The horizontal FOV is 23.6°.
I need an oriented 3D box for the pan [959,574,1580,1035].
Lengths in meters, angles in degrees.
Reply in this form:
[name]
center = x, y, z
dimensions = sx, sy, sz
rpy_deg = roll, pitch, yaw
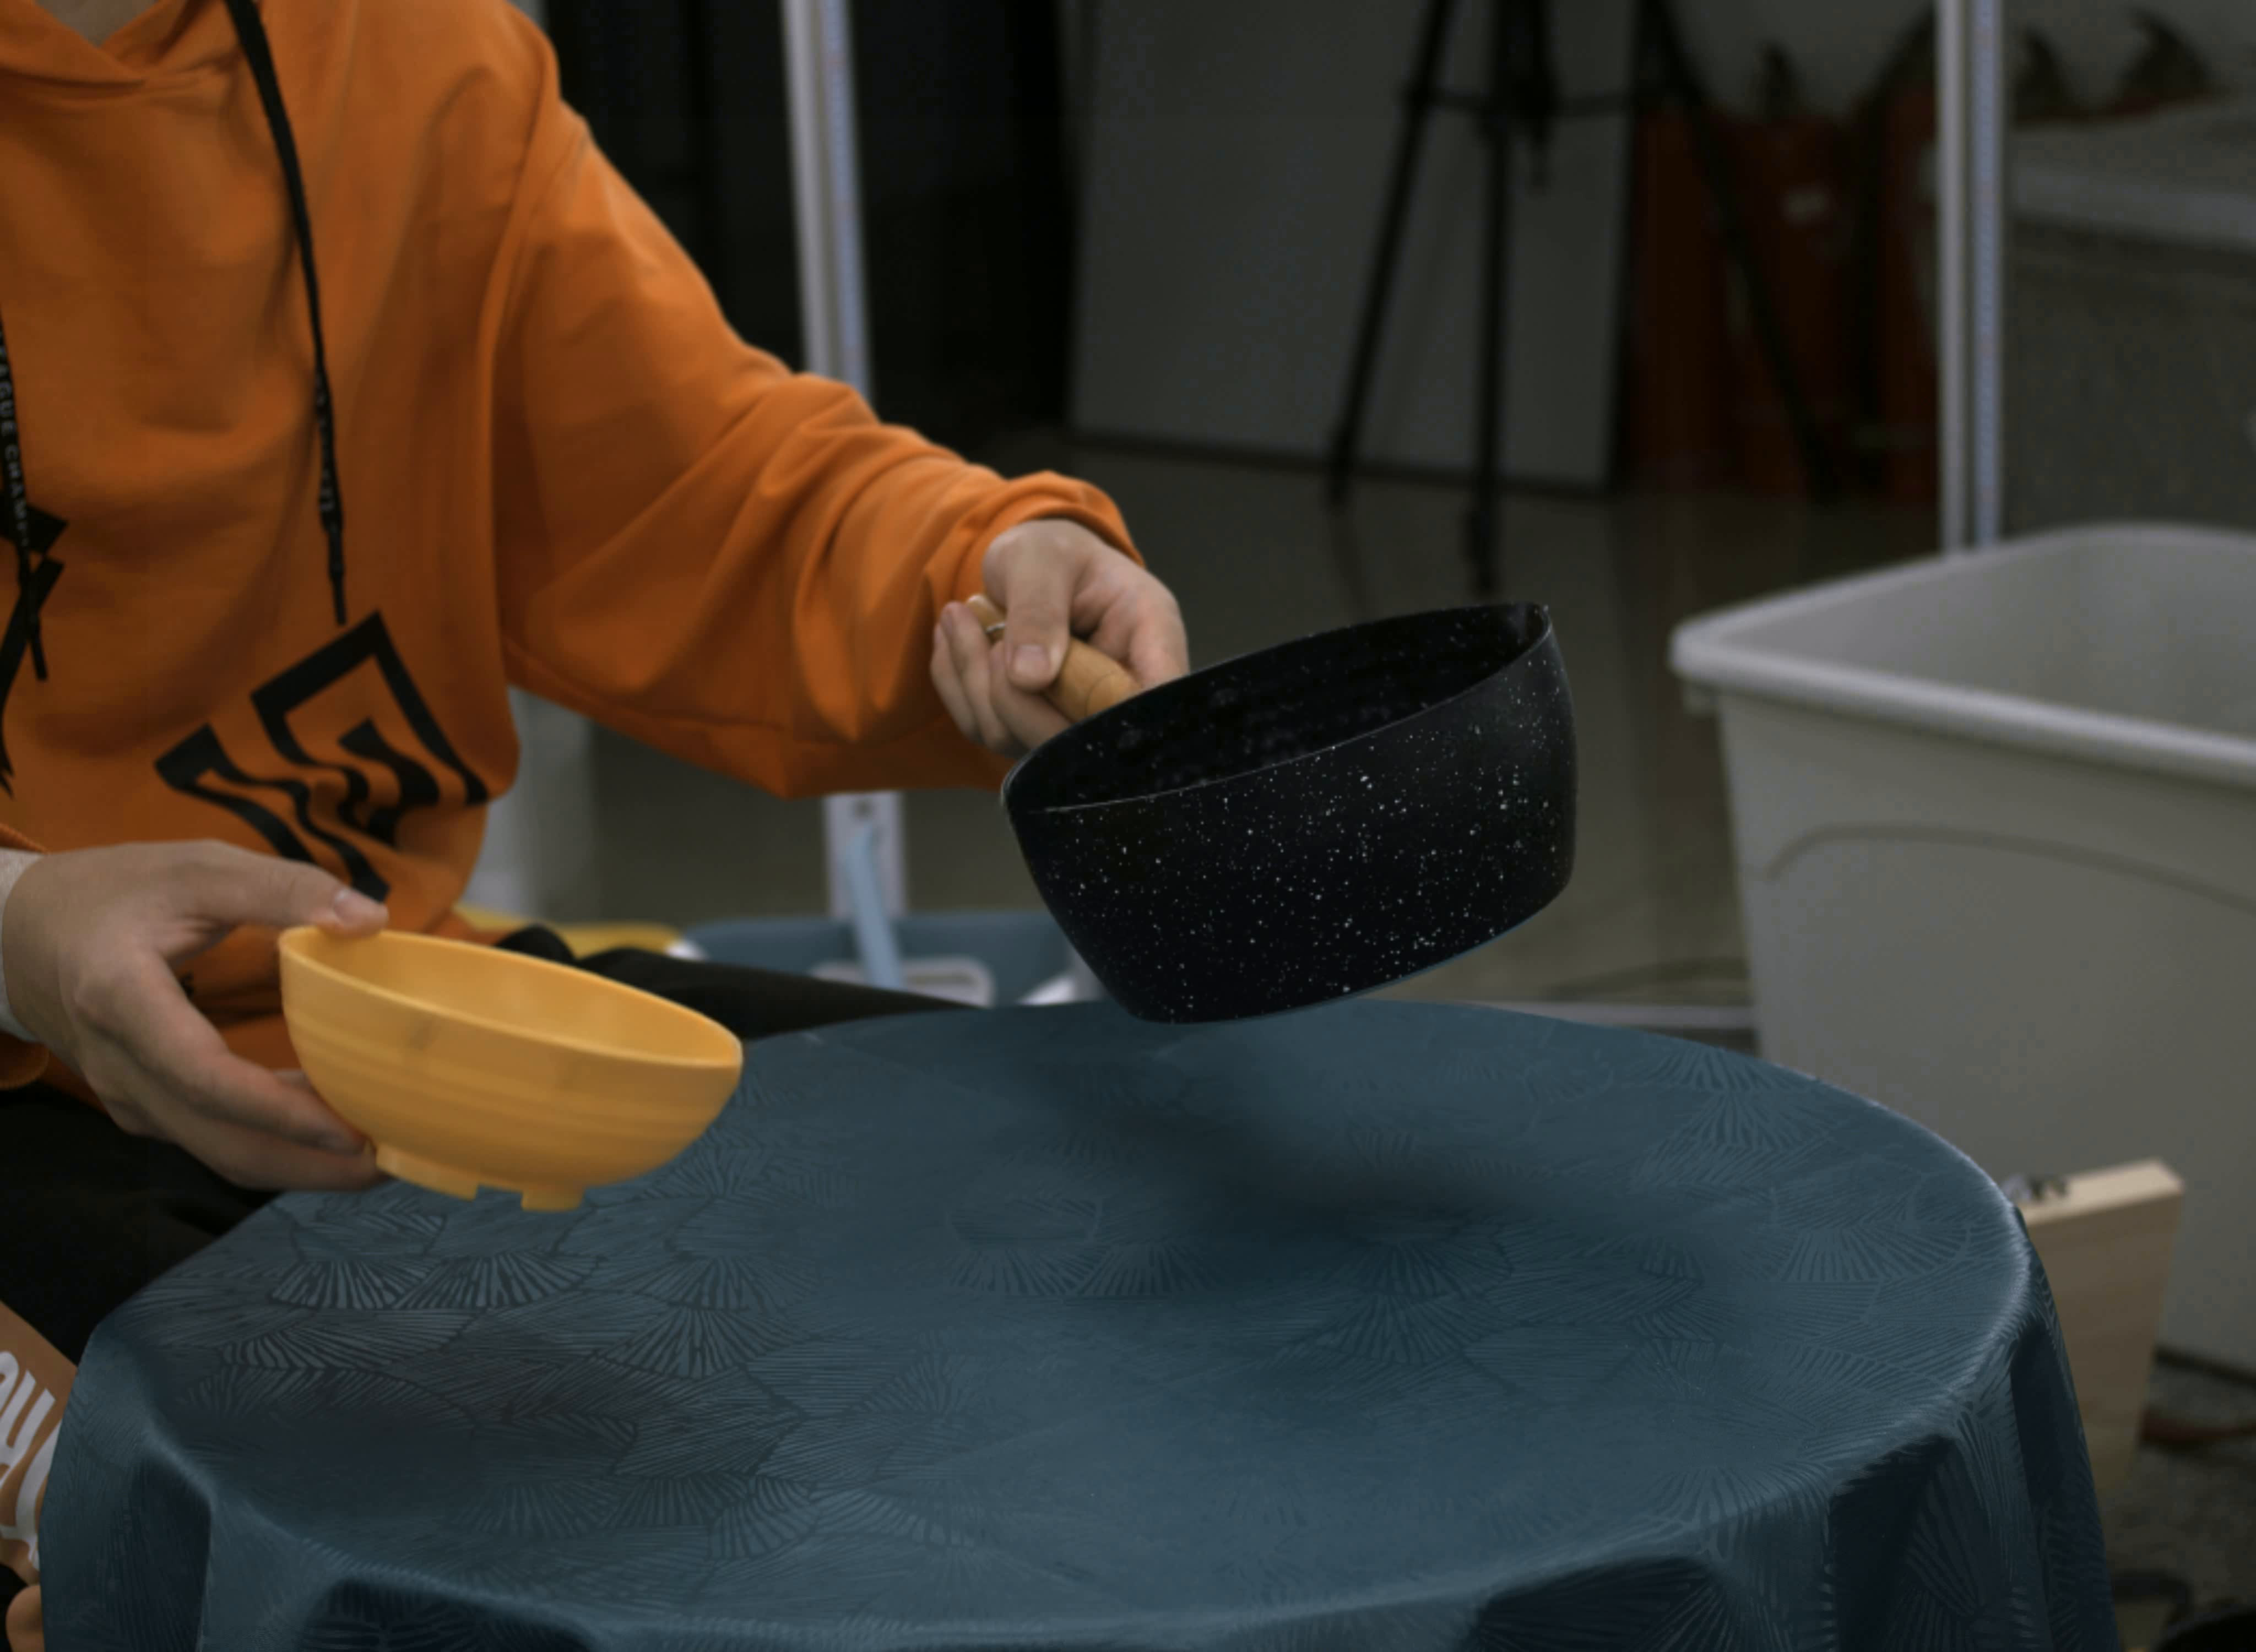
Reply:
[pan]
center = 0.024, -0.019, 1.794
dimensions = 0.204, 0.109, 0.346
rpy_deg = -24, 14, -19

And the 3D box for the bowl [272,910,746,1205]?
[bowl]
center = -0.188, 0.073, 1.589
dimensions = 0.143, 0.061, 0.145
rpy_deg = 15, 3, -2
